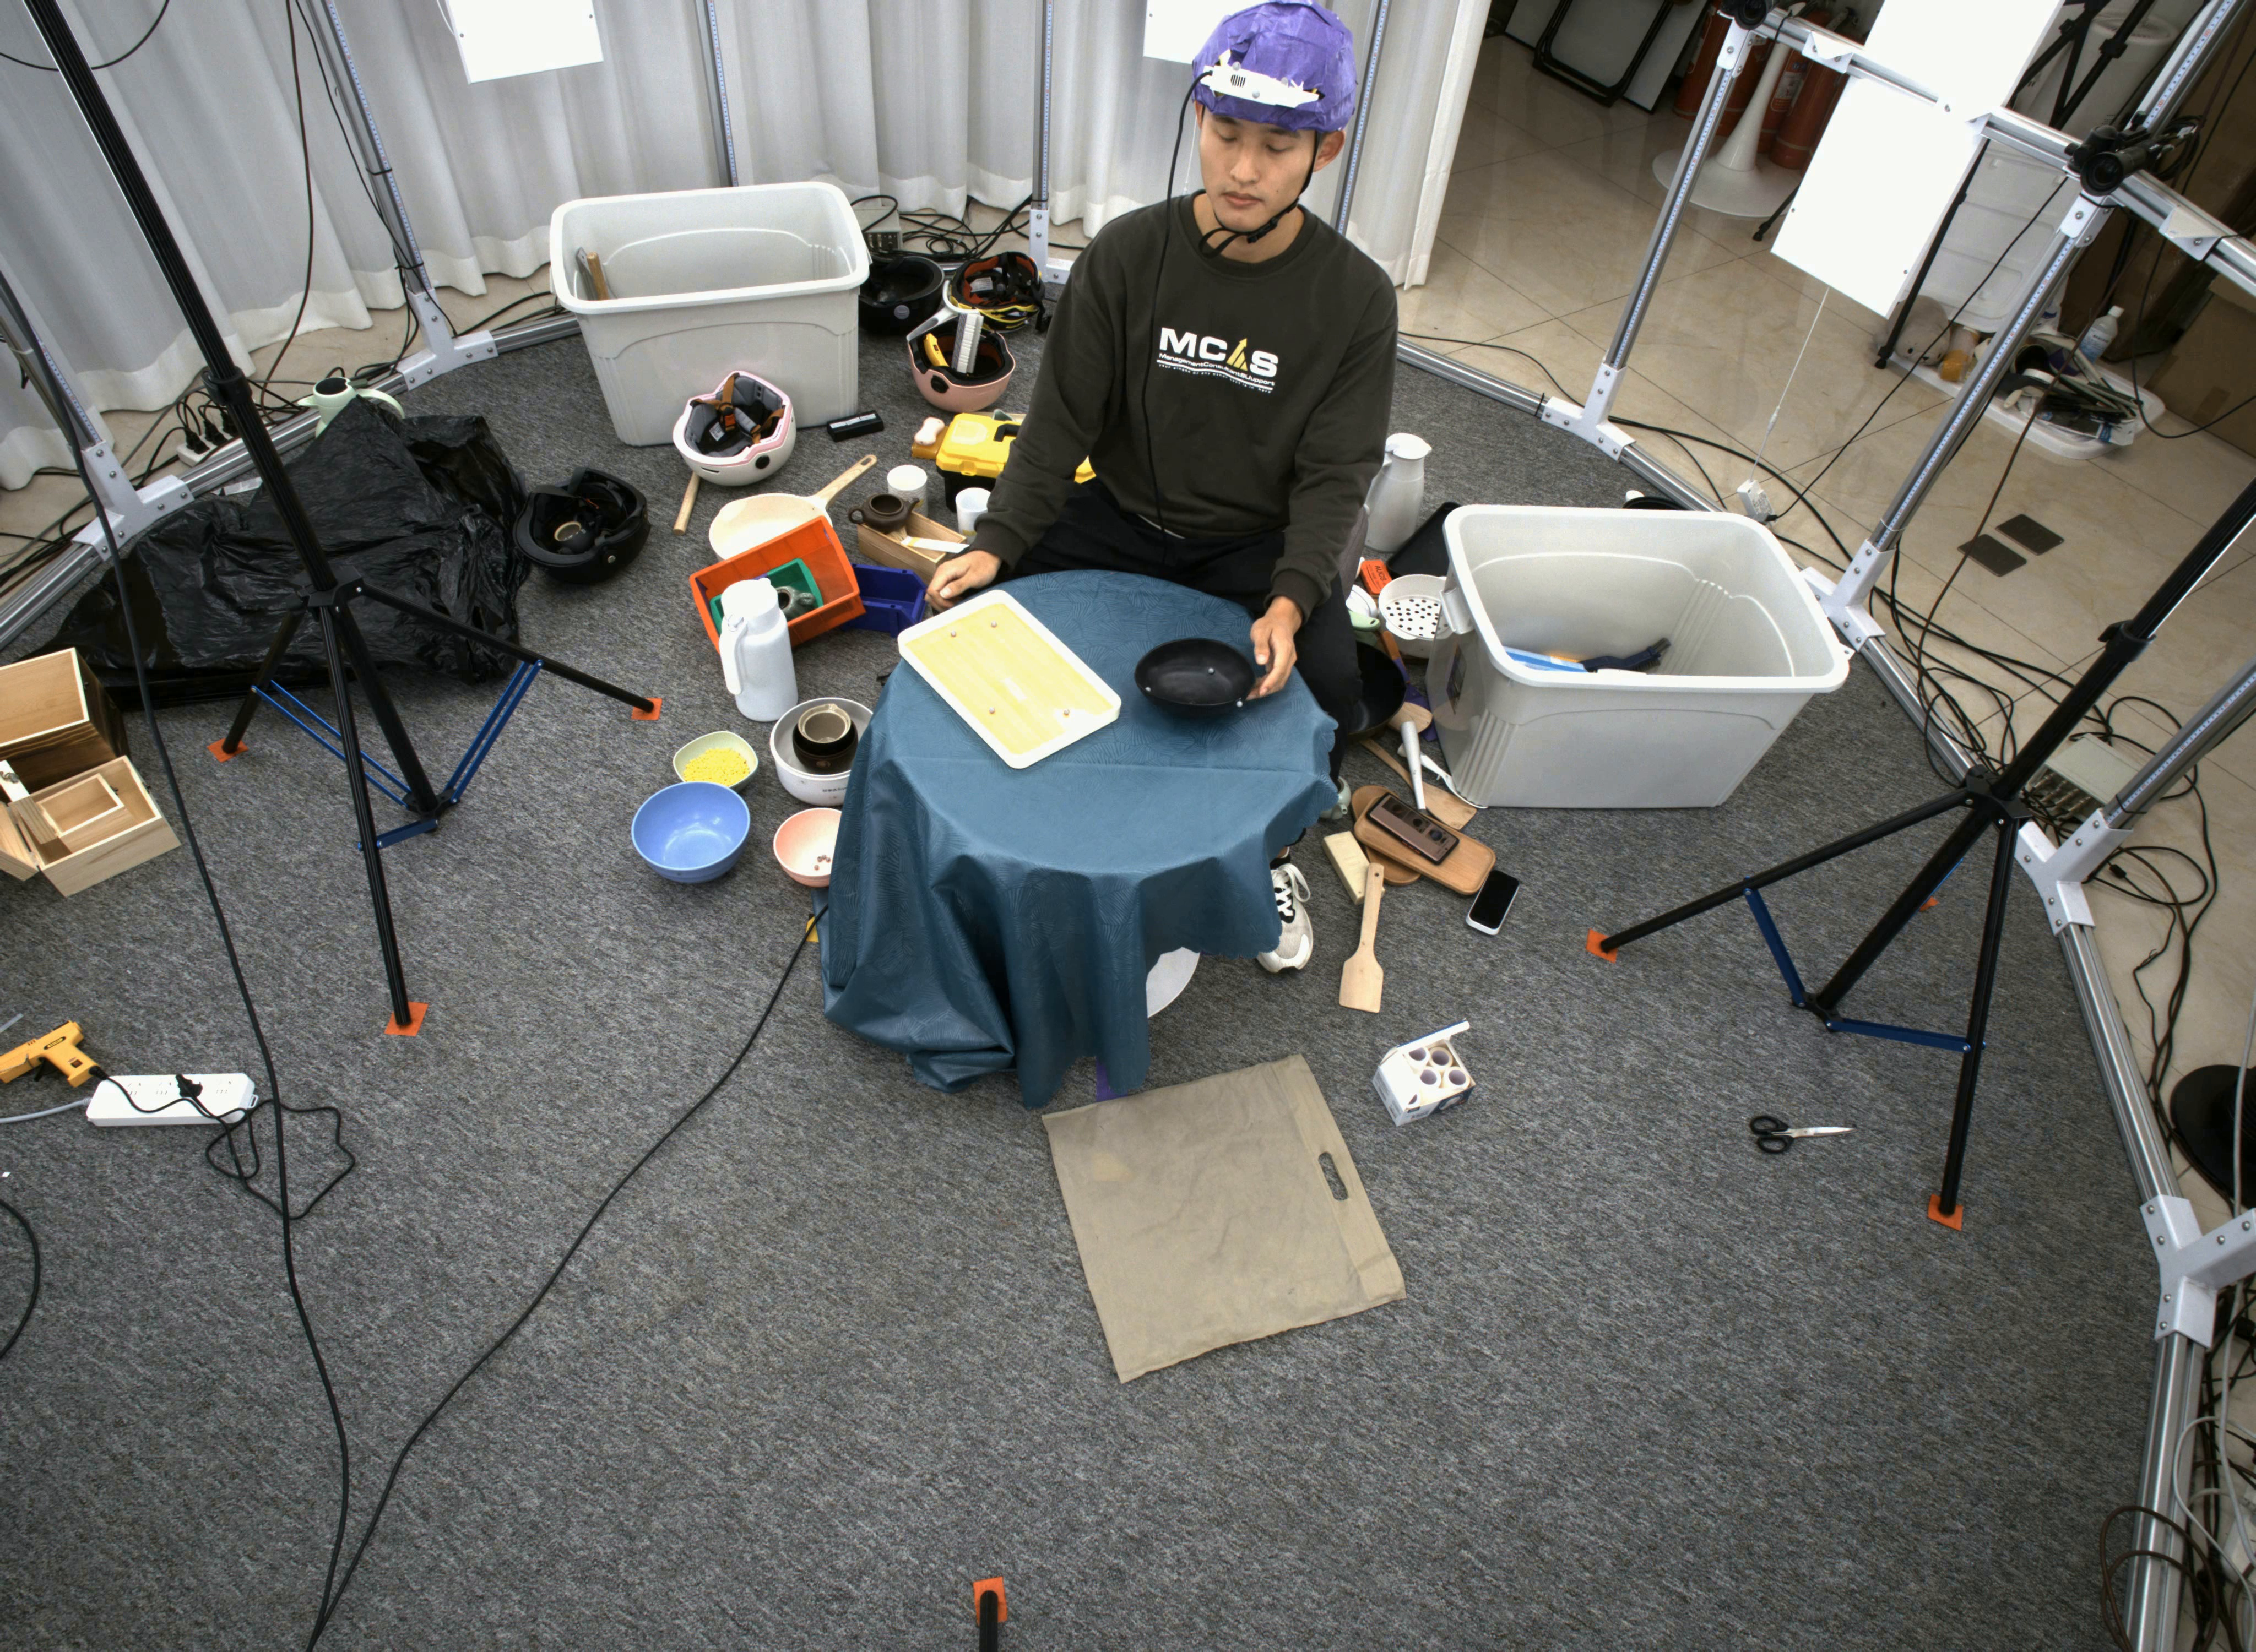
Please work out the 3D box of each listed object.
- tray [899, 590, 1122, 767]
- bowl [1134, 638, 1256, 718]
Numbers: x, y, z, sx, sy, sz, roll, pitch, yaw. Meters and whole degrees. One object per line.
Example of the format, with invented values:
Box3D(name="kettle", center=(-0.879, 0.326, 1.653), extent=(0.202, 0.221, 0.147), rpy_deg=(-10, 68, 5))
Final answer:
Box3D(name="tray", center=(-0.168, -0.215, 1.821), extent=(0.193, 0.027, 0.305), rpy_deg=(-29, 57, -26))
Box3D(name="bowl", center=(0.093, -0.195, 1.802), extent=(0.170, 0.065, 0.141), rpy_deg=(1, 48, -2))
